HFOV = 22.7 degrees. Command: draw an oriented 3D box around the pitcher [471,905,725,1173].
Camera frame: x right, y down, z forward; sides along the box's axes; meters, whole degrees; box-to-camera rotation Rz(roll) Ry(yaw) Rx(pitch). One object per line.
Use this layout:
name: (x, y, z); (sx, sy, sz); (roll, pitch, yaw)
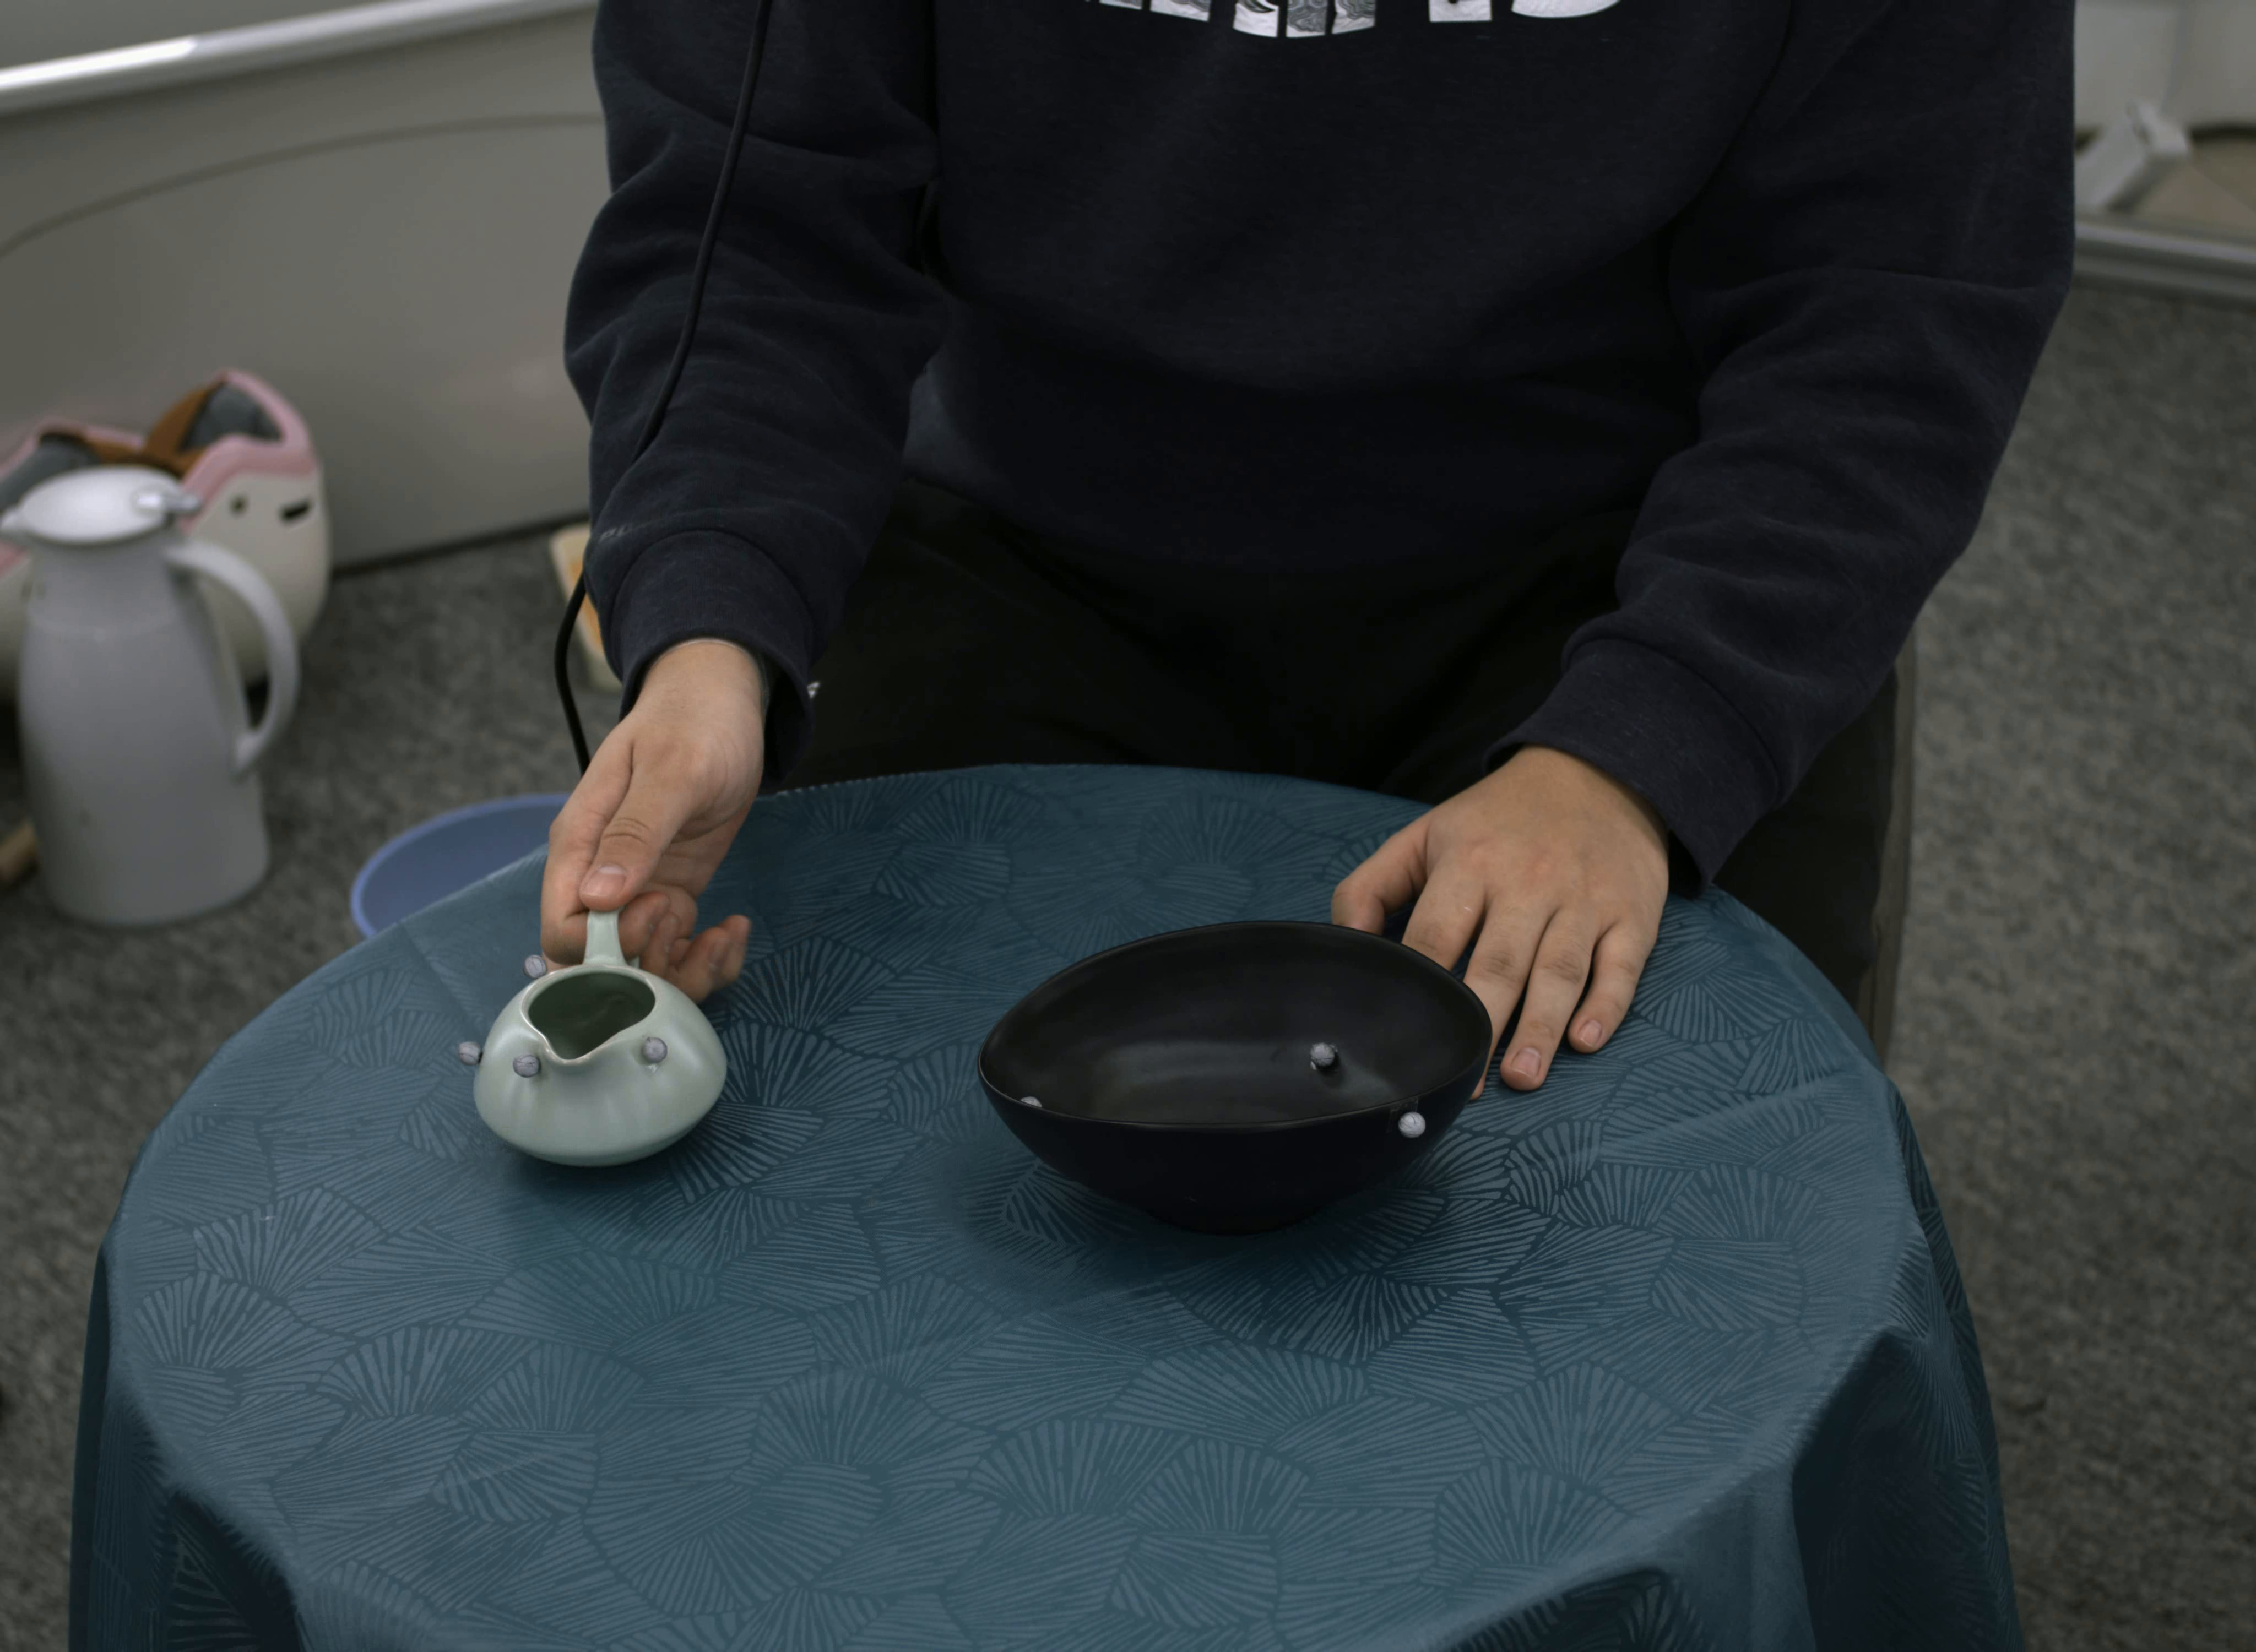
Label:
pitcher: (-0.179, 0.074, 1.908); (0.085, 0.059, 0.110); (0, 30, 3)

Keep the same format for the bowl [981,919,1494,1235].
bowl: (0.036, 0.092, 1.852); (0.169, 0.066, 0.139); (-2, 26, 3)
